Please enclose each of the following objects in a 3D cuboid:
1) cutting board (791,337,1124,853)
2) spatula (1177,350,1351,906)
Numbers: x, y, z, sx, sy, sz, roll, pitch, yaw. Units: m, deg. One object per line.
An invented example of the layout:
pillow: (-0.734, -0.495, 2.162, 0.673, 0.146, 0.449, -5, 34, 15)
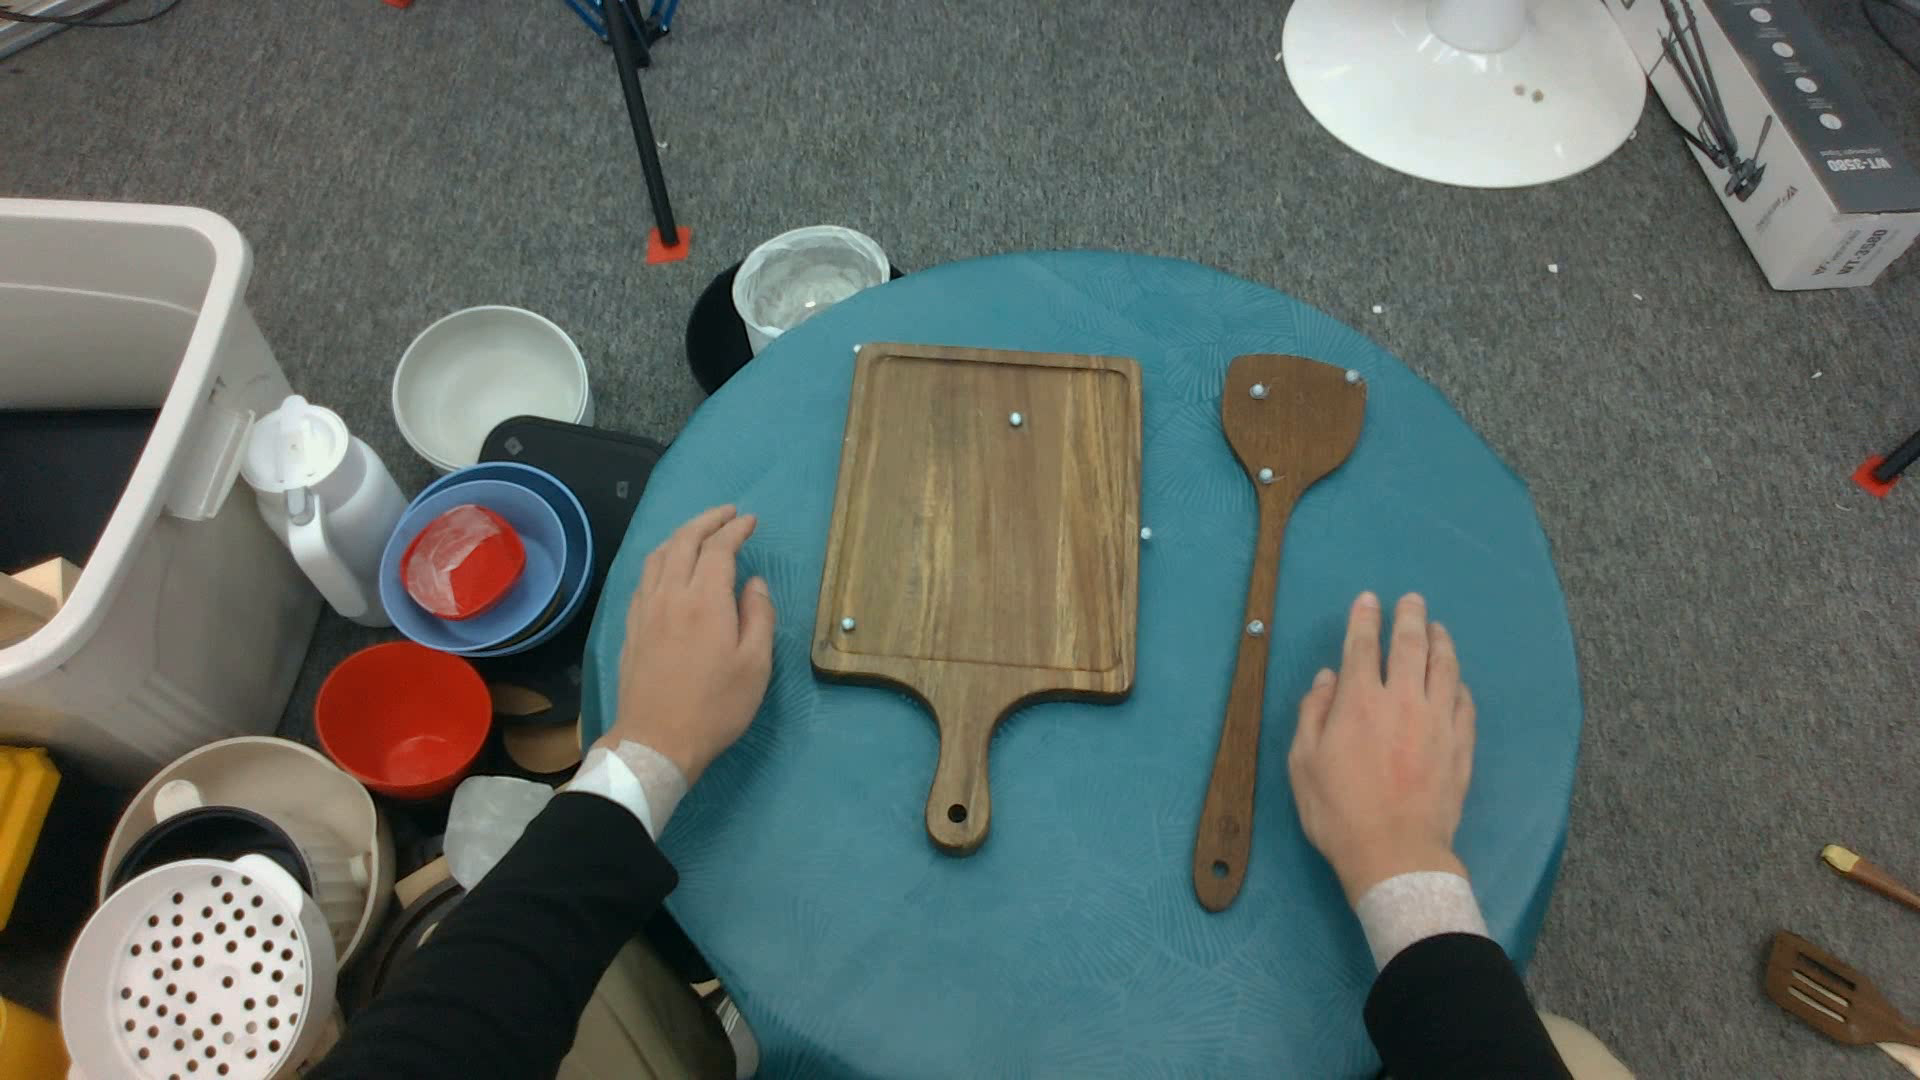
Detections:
cutting board: (0.001, 0.020, 0.854, 0.201, 0.023, 0.353, 4, 60, 2)
spatula: (0.176, 0.036, 0.850, 0.096, 0.016, 0.387, 12, 61, 7)
